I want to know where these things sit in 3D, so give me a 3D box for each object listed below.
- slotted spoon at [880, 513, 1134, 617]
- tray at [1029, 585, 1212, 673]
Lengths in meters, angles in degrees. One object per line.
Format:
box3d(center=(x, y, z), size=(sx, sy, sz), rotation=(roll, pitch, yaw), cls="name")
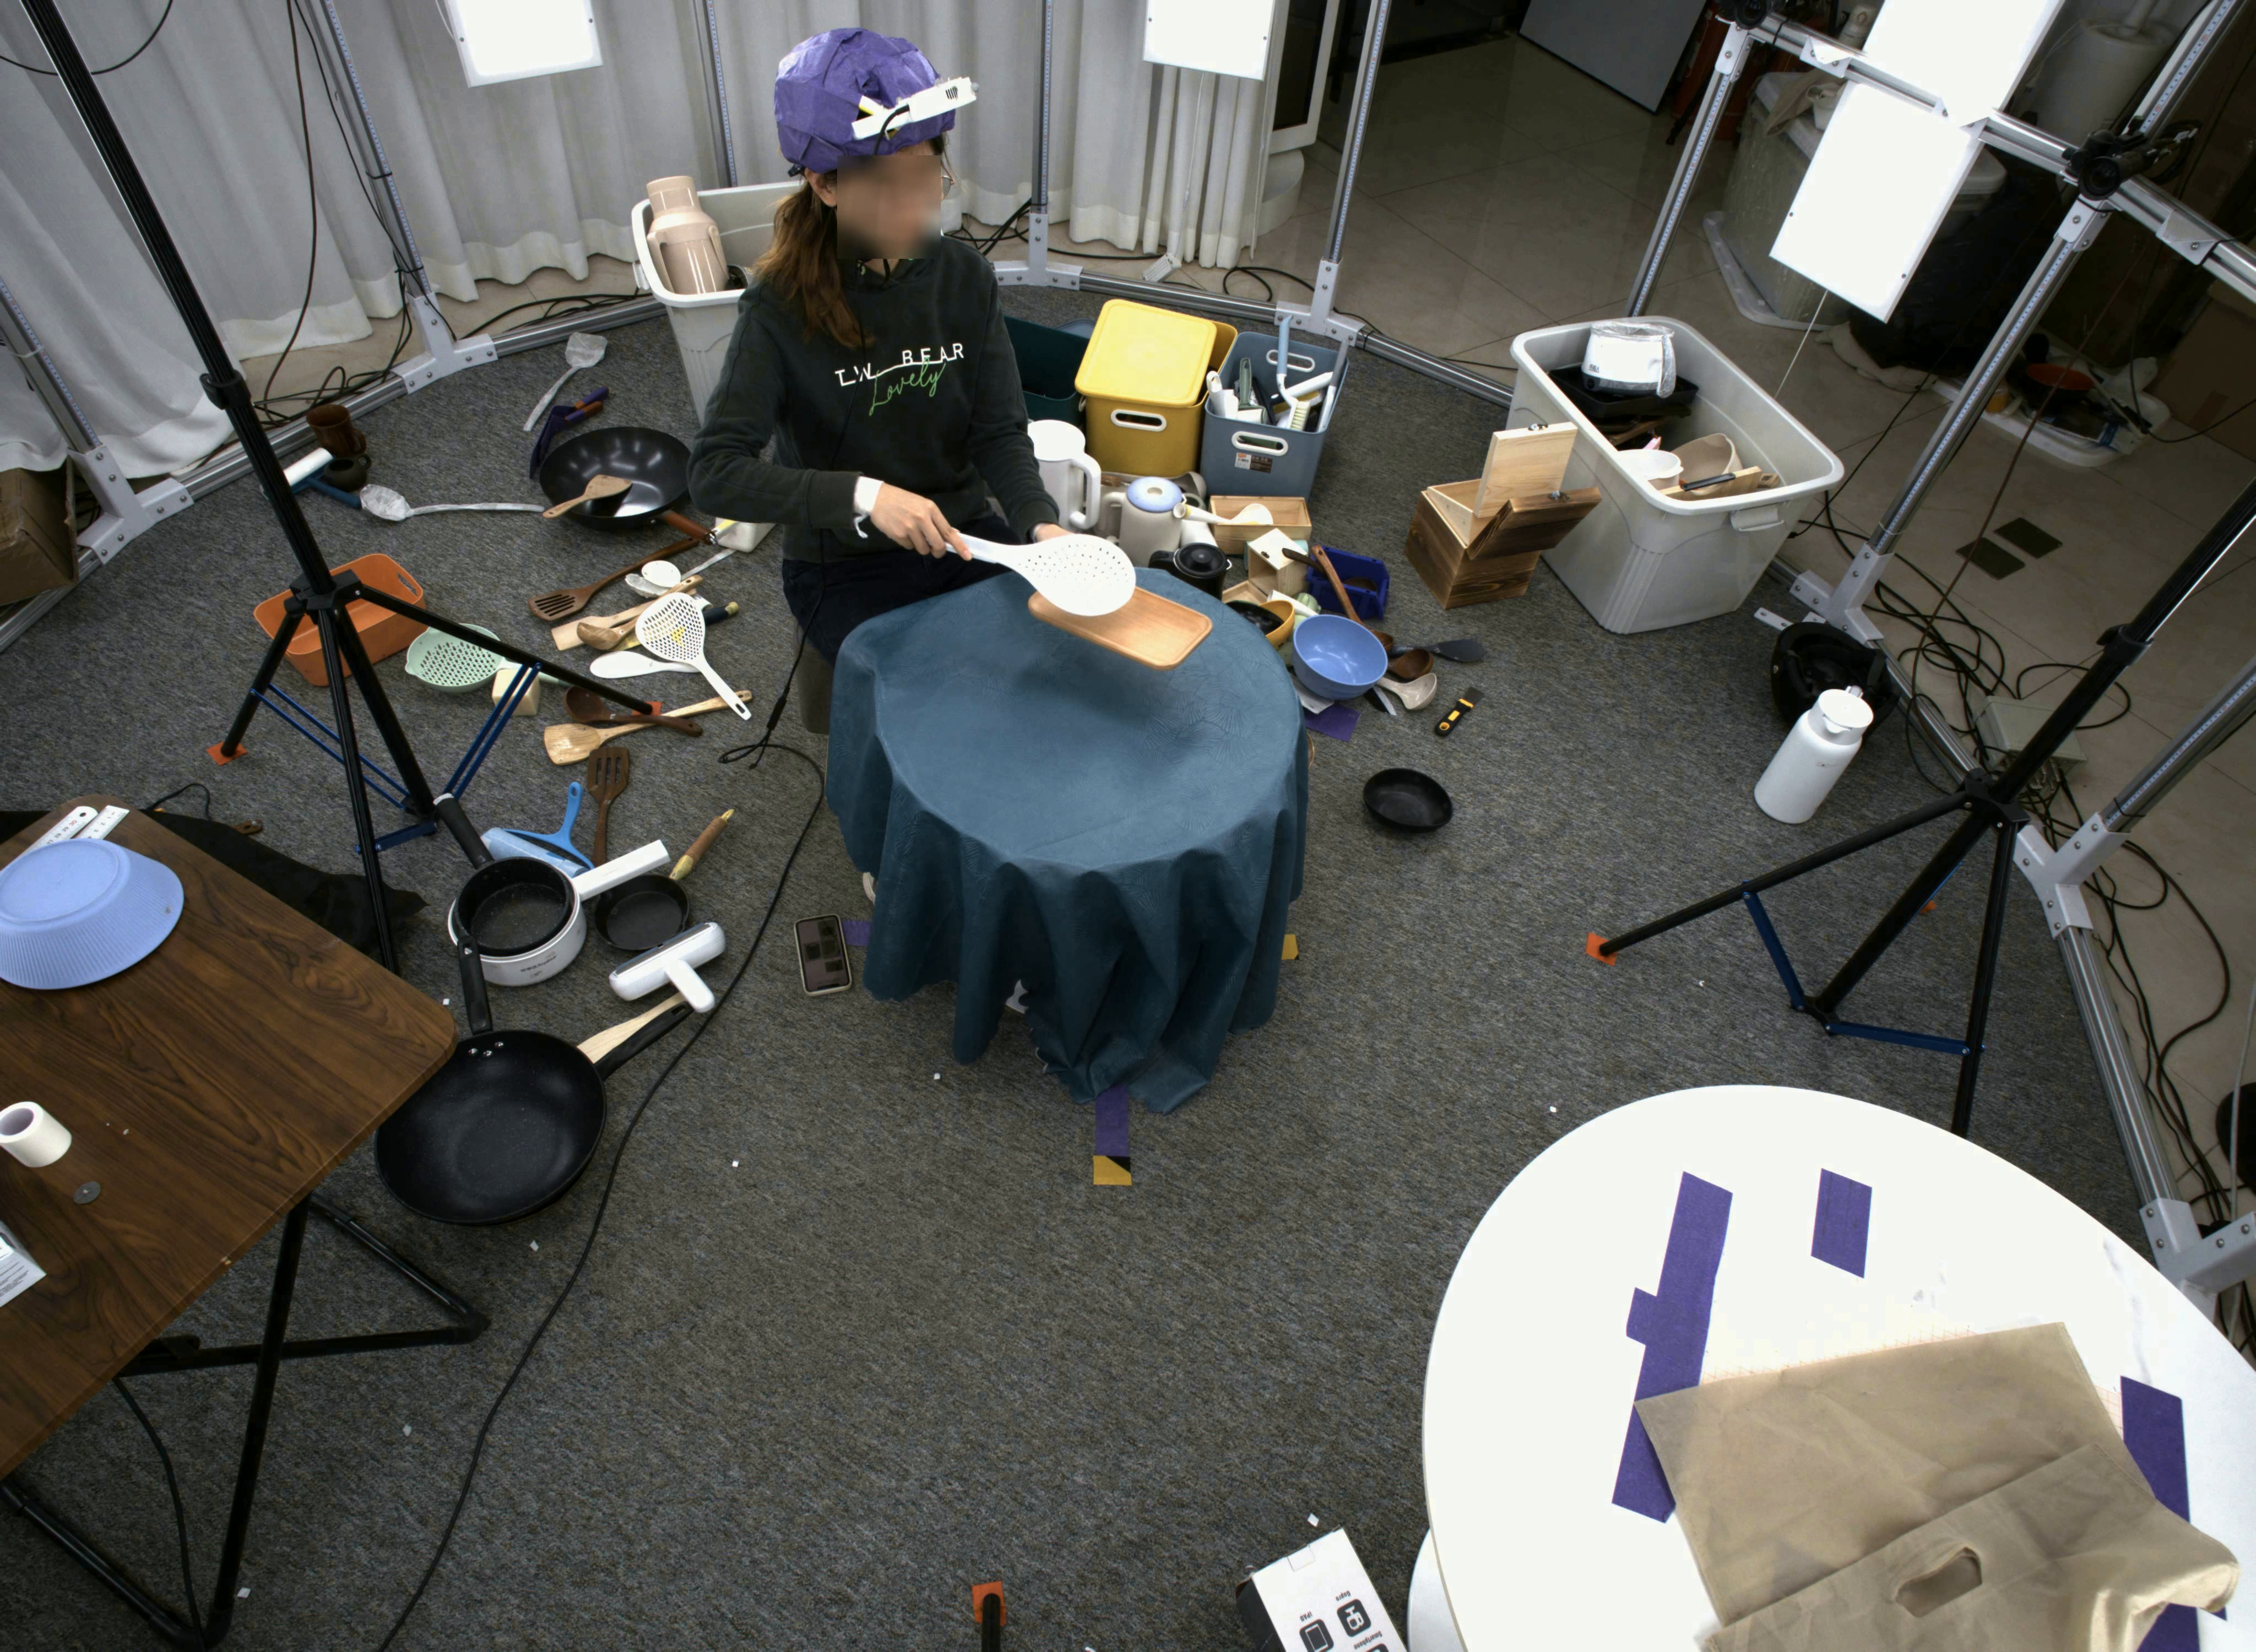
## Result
box3d(center=(-0.163, -0.364, 1.750), size=(0.349, 0.045, 0.139), rotation=(18, 57, -5), cls="slotted spoon")
box3d(center=(-0.012, -0.290, 1.799), size=(0.253, 0.022, 0.132), rotation=(26, 51, 25), cls="tray")
